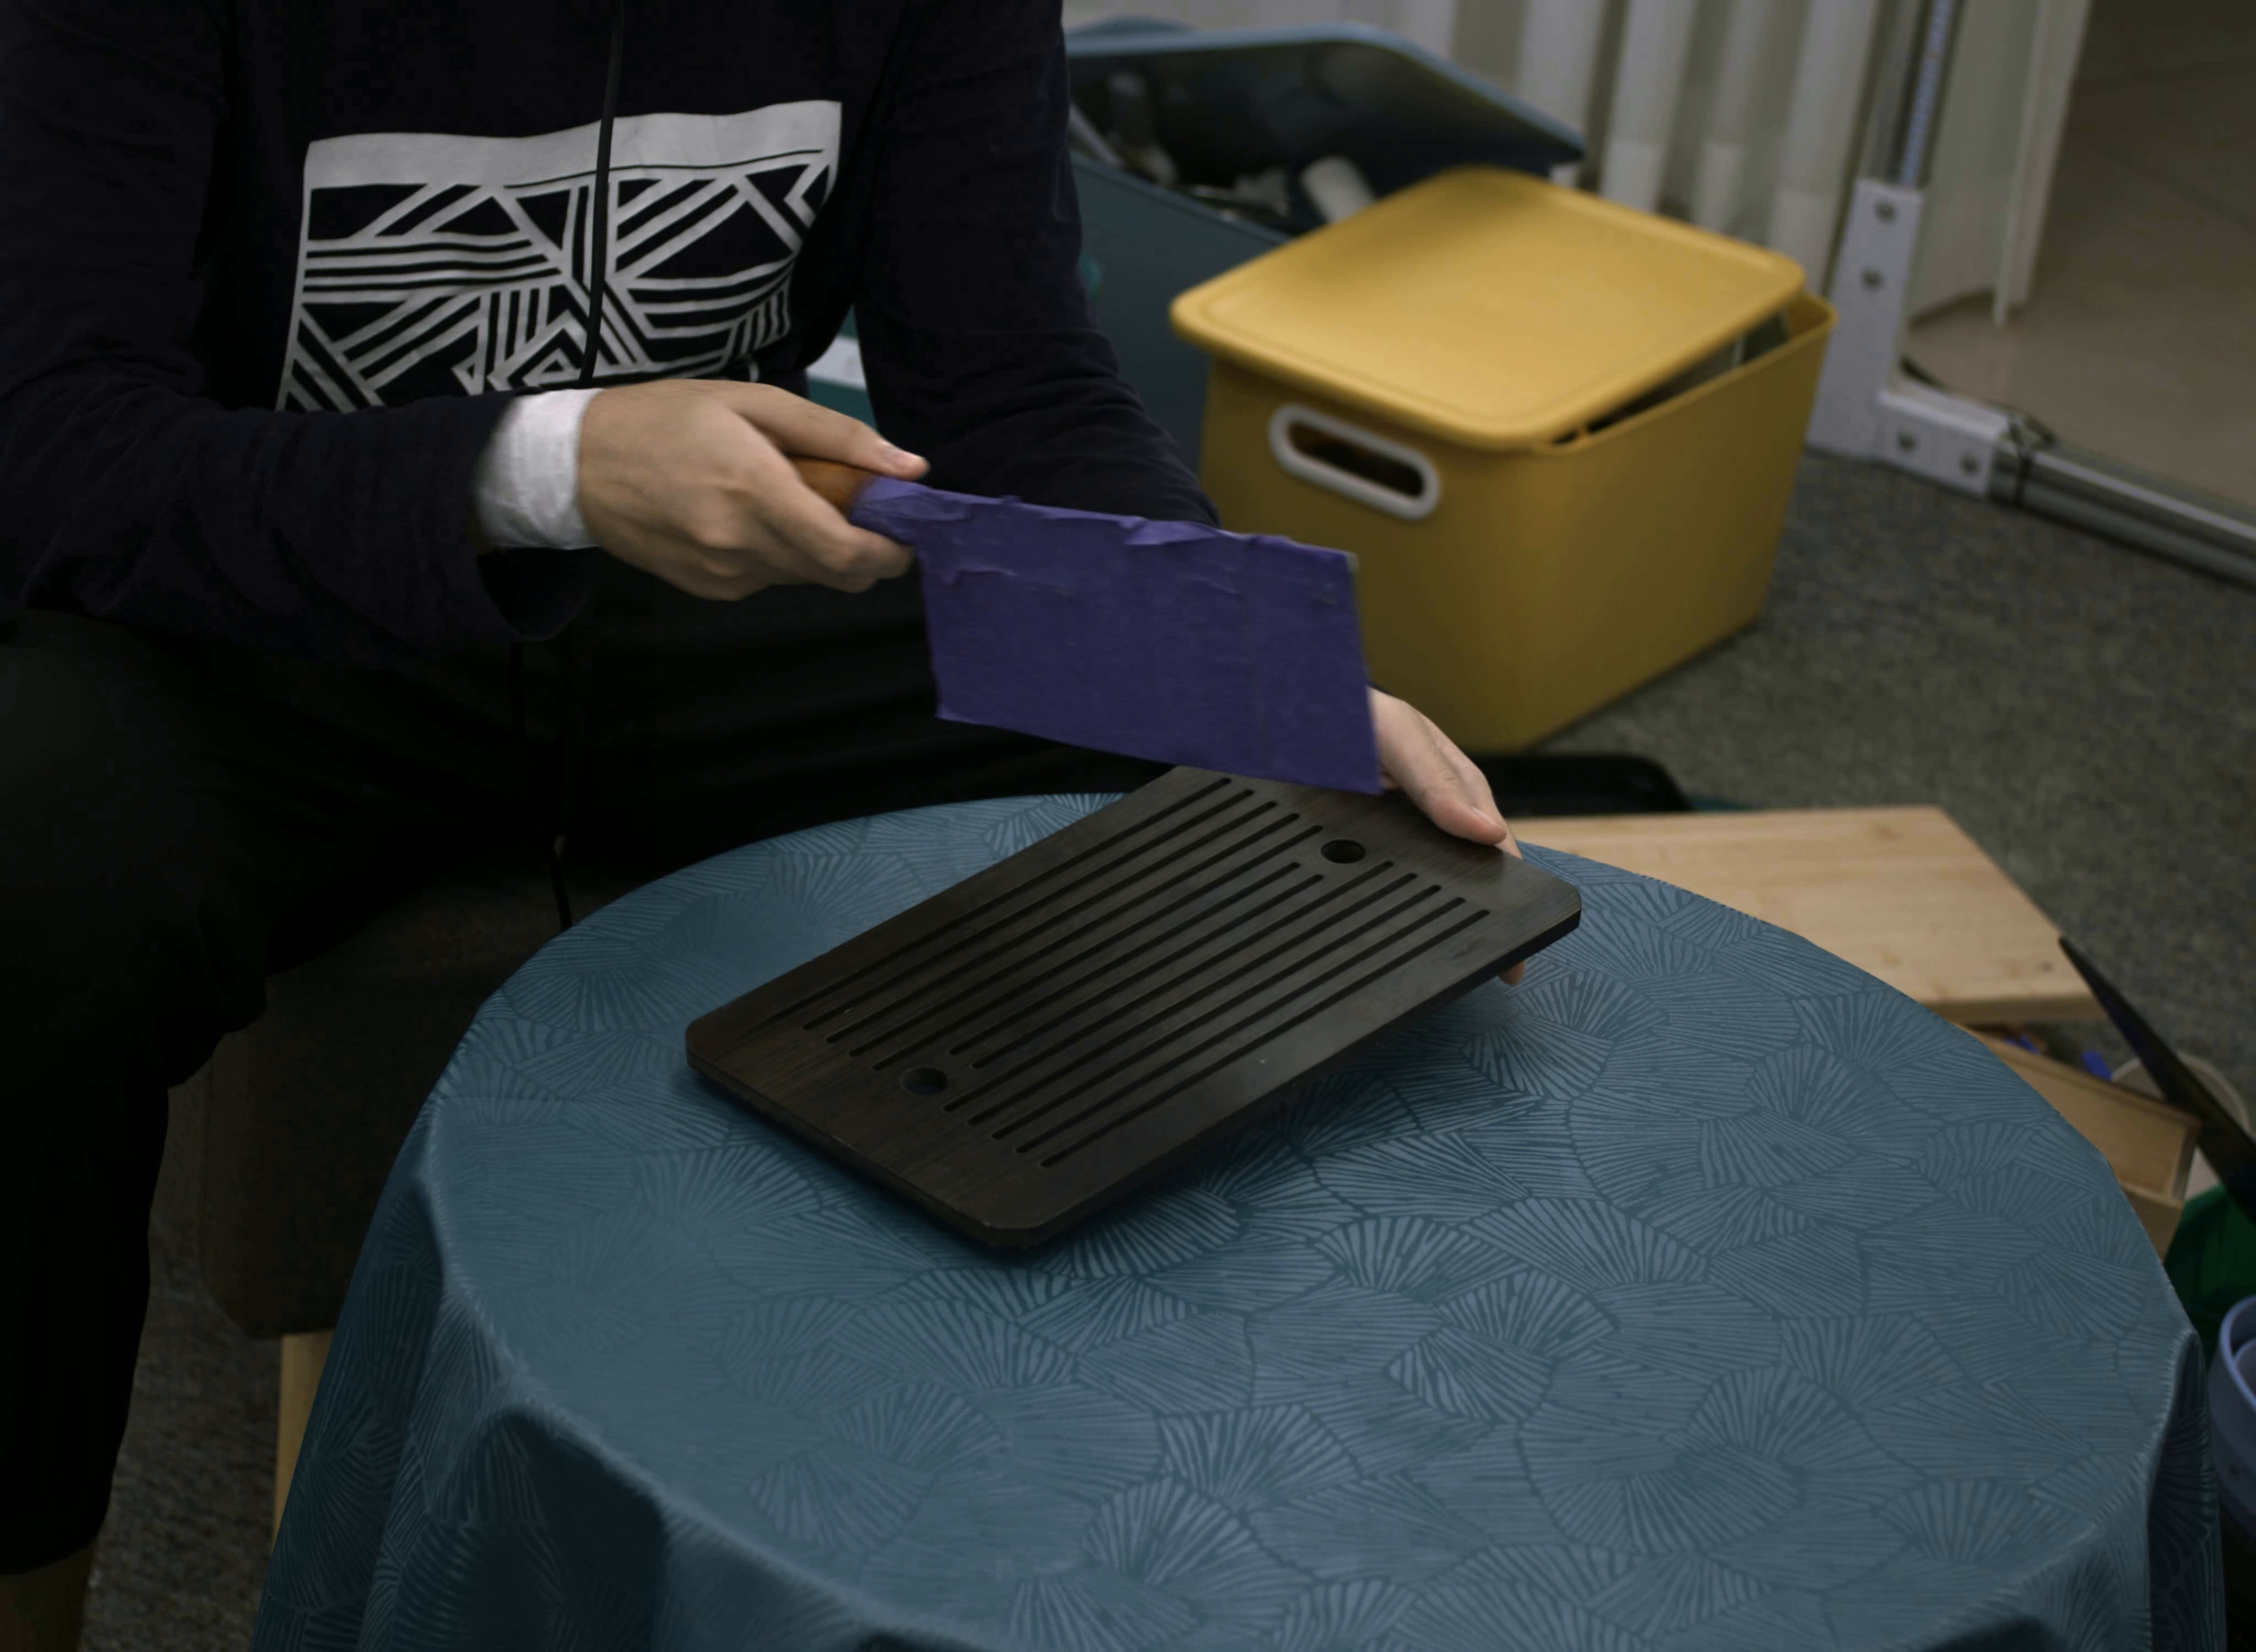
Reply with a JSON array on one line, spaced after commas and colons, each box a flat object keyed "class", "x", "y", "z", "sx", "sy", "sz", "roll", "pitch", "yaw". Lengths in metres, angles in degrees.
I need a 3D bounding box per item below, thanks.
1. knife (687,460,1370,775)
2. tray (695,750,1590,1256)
[{"class": "knife", "x": -0.040, "y": -0.074, "z": 1.890, "sx": 0.317, "sy": 0.103, "sz": 0.032, "roll": 11, "pitch": 26, "yaw": 44}, {"class": "tray", "x": 0.009, "y": 0.057, "z": 1.885, "sx": 0.171, "sy": 0.018, "sz": 0.305, "roll": 28, "pitch": 40, "yaw": 36}]
